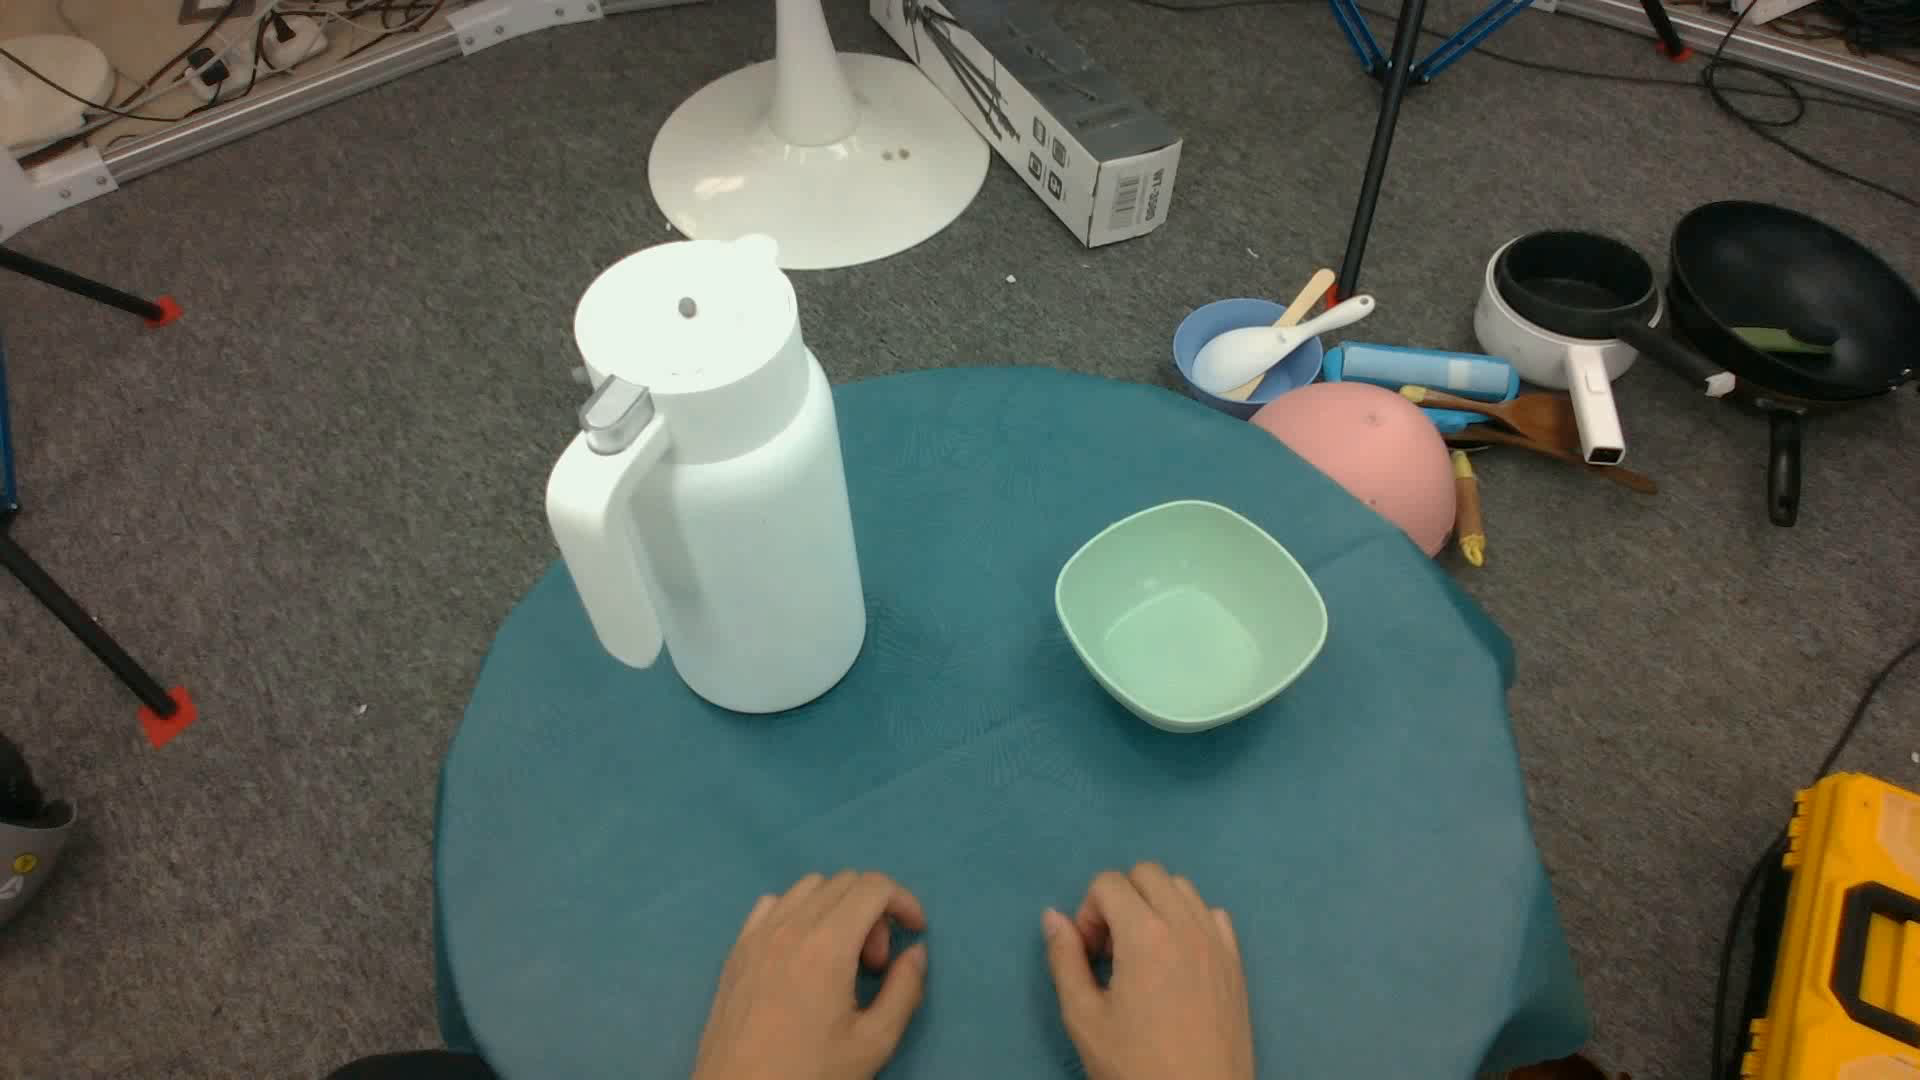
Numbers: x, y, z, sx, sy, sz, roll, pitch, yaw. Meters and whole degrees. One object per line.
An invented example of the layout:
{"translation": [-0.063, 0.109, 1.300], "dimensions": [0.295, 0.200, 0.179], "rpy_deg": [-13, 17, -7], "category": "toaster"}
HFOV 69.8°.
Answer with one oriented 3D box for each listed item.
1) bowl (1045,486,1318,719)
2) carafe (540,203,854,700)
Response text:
{"translation": [0.123, 0.044, 0.787], "dimensions": [0.151, 0.058, 0.152], "rpy_deg": [-1, 53, 1], "category": "bowl"}
{"translation": [-0.129, -0.018, 0.706], "dimensions": [0.124, 0.267, 0.173], "rpy_deg": [19, 56, 13], "category": "carafe"}
